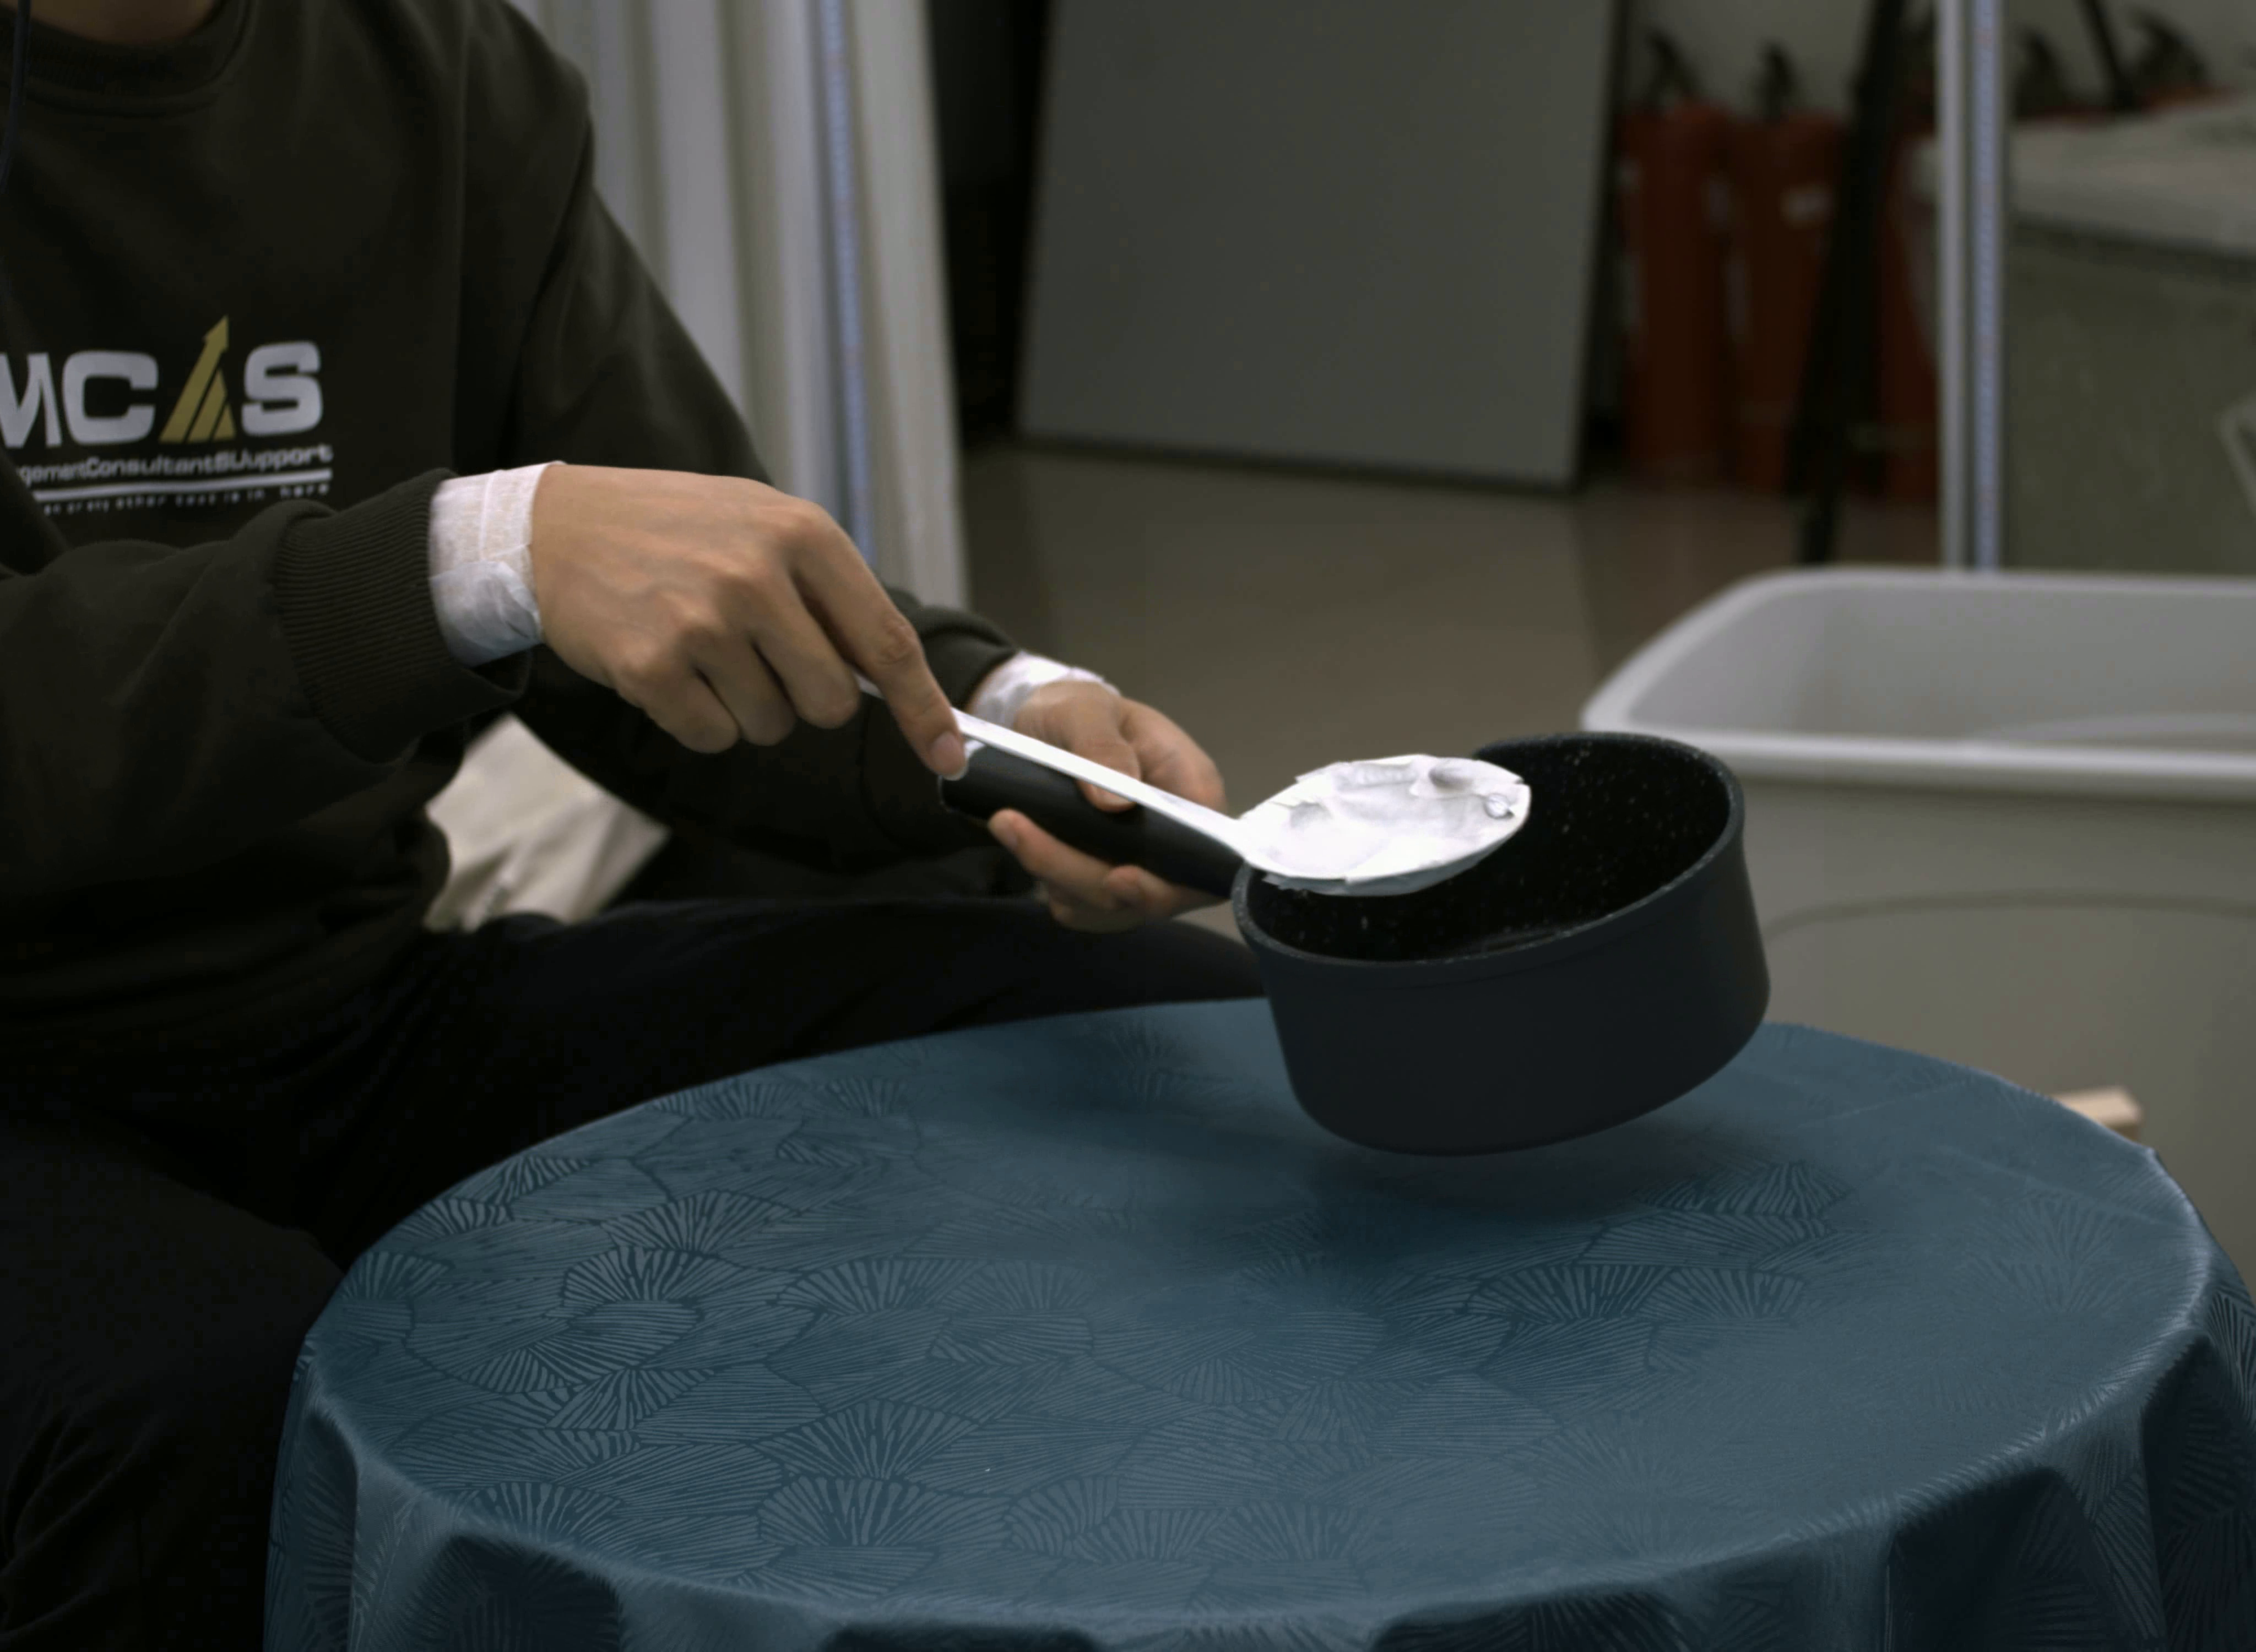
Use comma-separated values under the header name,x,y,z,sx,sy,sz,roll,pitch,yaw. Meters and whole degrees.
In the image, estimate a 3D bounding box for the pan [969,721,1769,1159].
name,x,y,z,sx,sy,sz,roll,pitch,yaw
pan,0.069,0.027,1.819,0.169,0.087,0.332,-30,27,-36

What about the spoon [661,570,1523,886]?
name,x,y,z,sx,sy,sz,roll,pitch,yaw
spoon,-0.011,-0.045,1.702,0.275,0.060,0.100,24,18,0
